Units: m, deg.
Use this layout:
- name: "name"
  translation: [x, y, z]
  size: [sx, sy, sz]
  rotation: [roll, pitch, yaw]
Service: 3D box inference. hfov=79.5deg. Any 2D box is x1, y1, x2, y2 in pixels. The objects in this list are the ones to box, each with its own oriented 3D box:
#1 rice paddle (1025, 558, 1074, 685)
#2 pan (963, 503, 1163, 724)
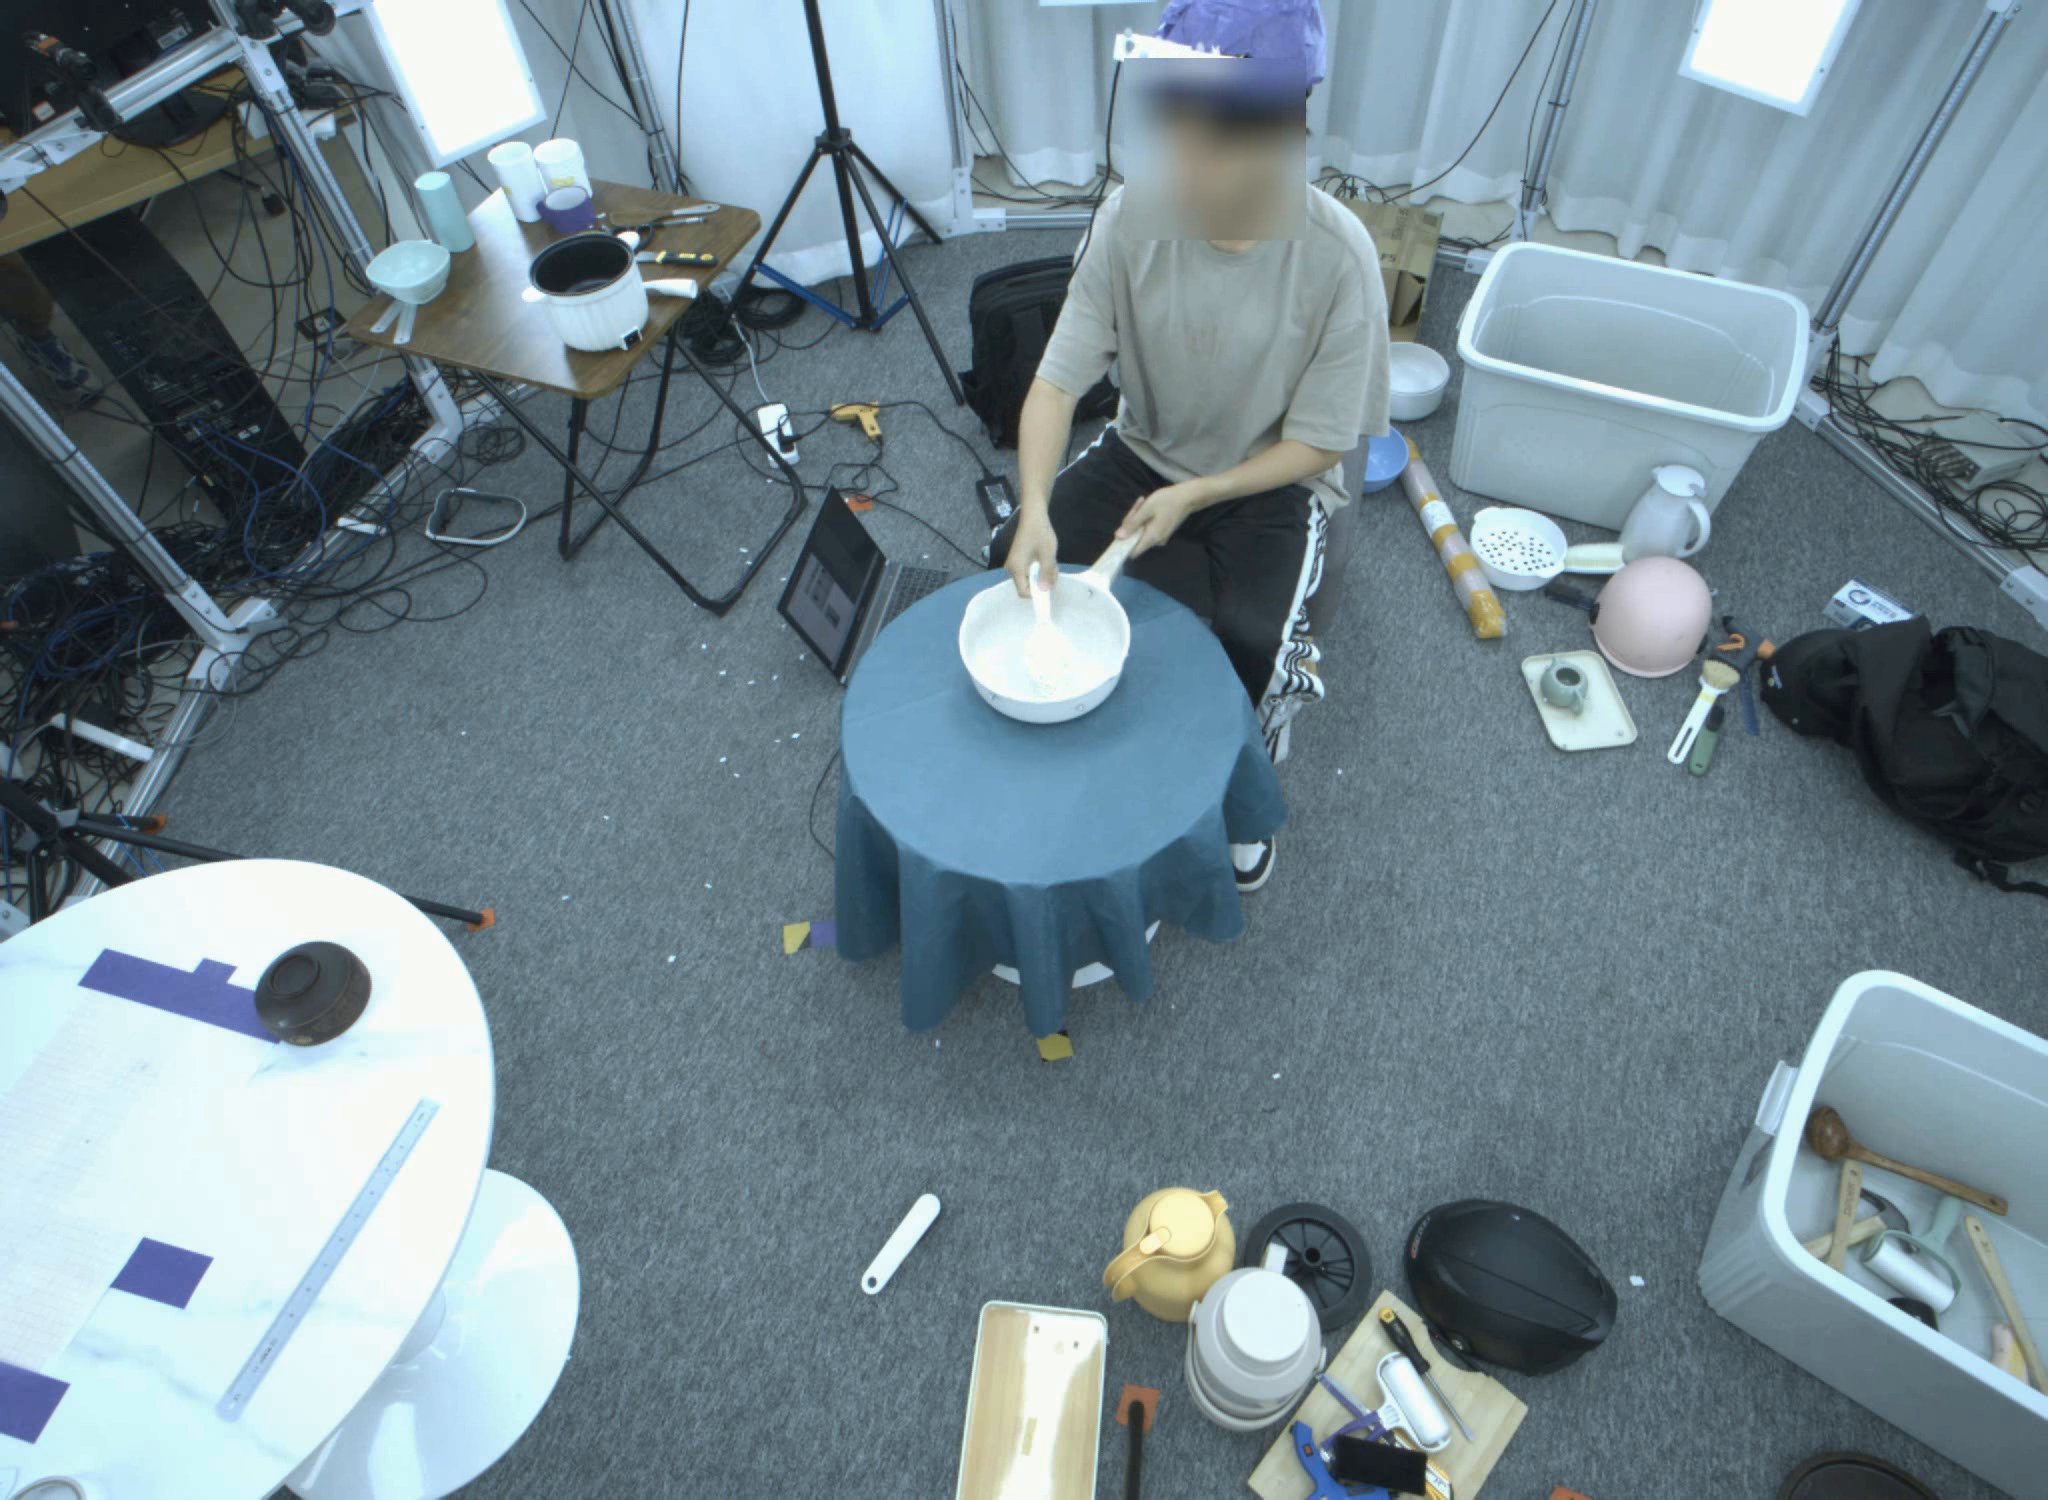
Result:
- name: "rice paddle"
  translation: [0.030, -0.184, 1.769]
  size: [0.068, 0.030, 0.203]
  rotation: [-10, 66, 3]
- name: "pan"
  translation: [0.091, -0.210, 1.871]
  size: [0.259, 0.103, 0.437]
  rotation: [28, 60, 23]
